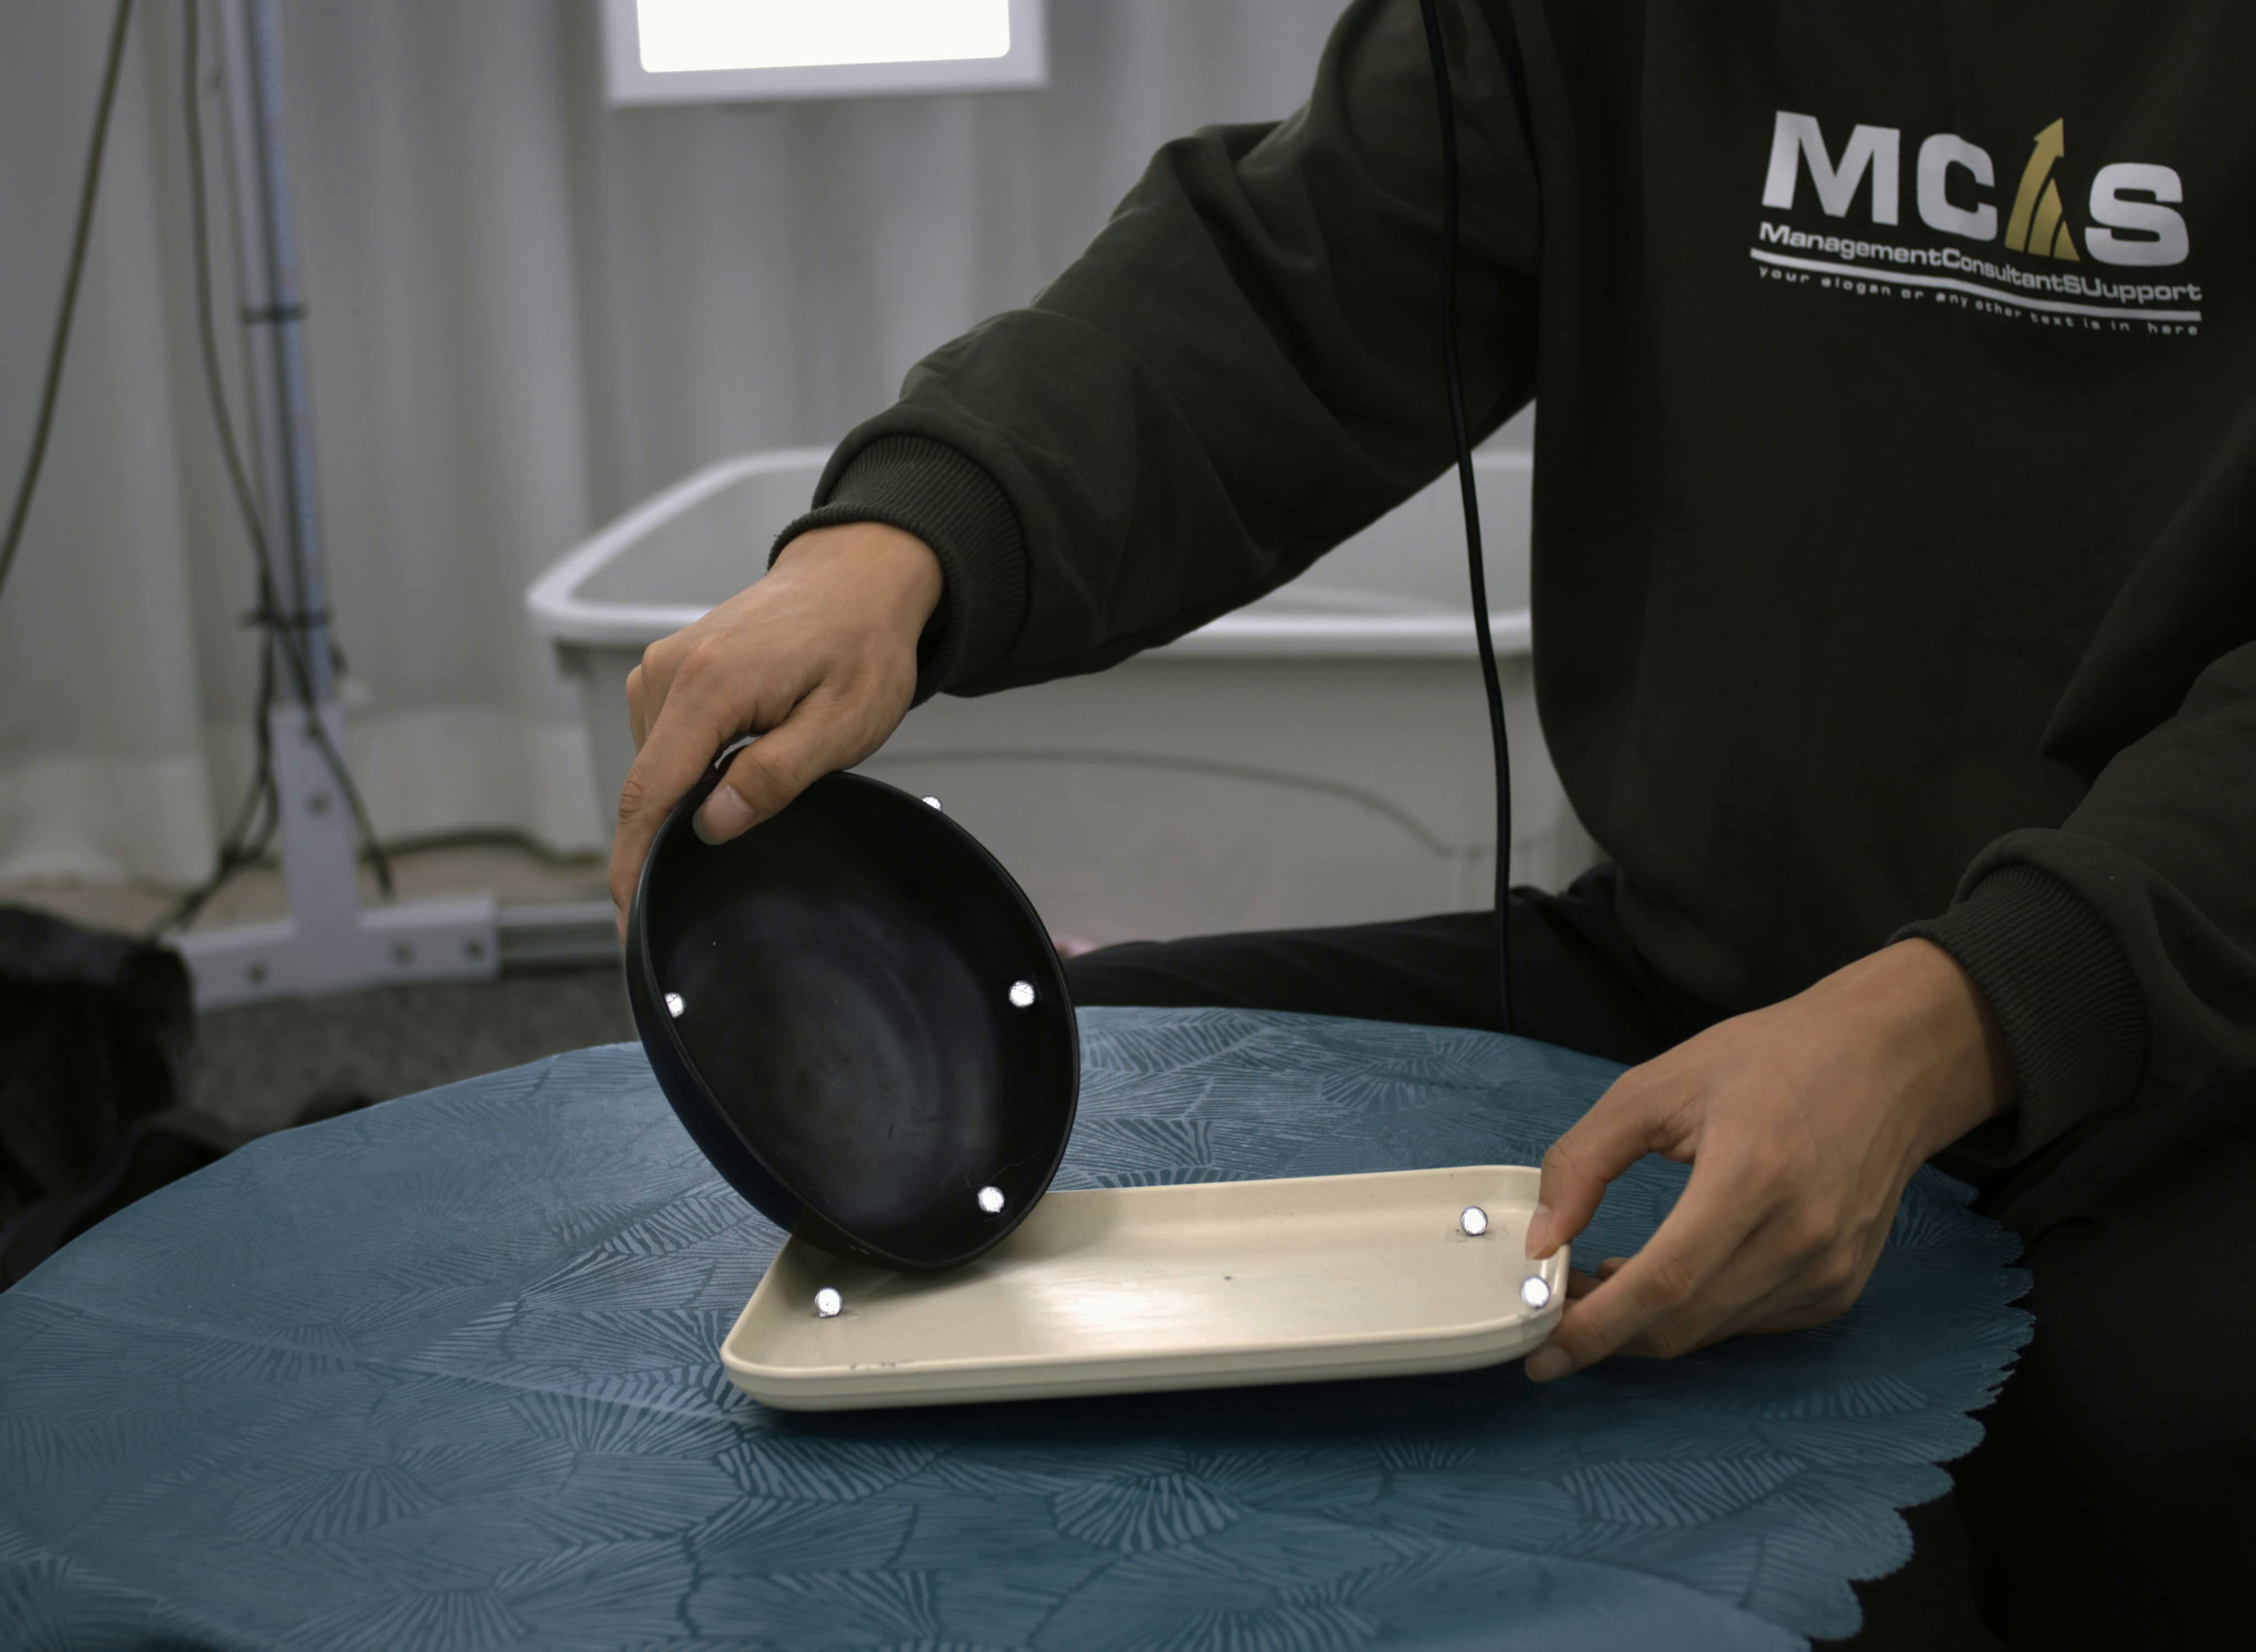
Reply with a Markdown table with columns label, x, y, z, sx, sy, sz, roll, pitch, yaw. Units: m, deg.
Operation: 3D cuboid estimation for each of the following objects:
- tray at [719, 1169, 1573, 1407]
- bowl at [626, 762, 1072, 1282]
| label | x | y | z | sx | sy | sz | roll | pitch | yaw |
| --- | --- | --- | --- | --- | --- | --- | --- | --- | --- |
| tray | 0.009 | 0.134 | 1.578 | 0.239 | 0.017 | 0.172 | -4 | 10 | 8 |
| bowl | -0.091 | 0.066 | 1.665 | 0.137 | 0.172 | 0.066 | -14 | -22 | -33 |
